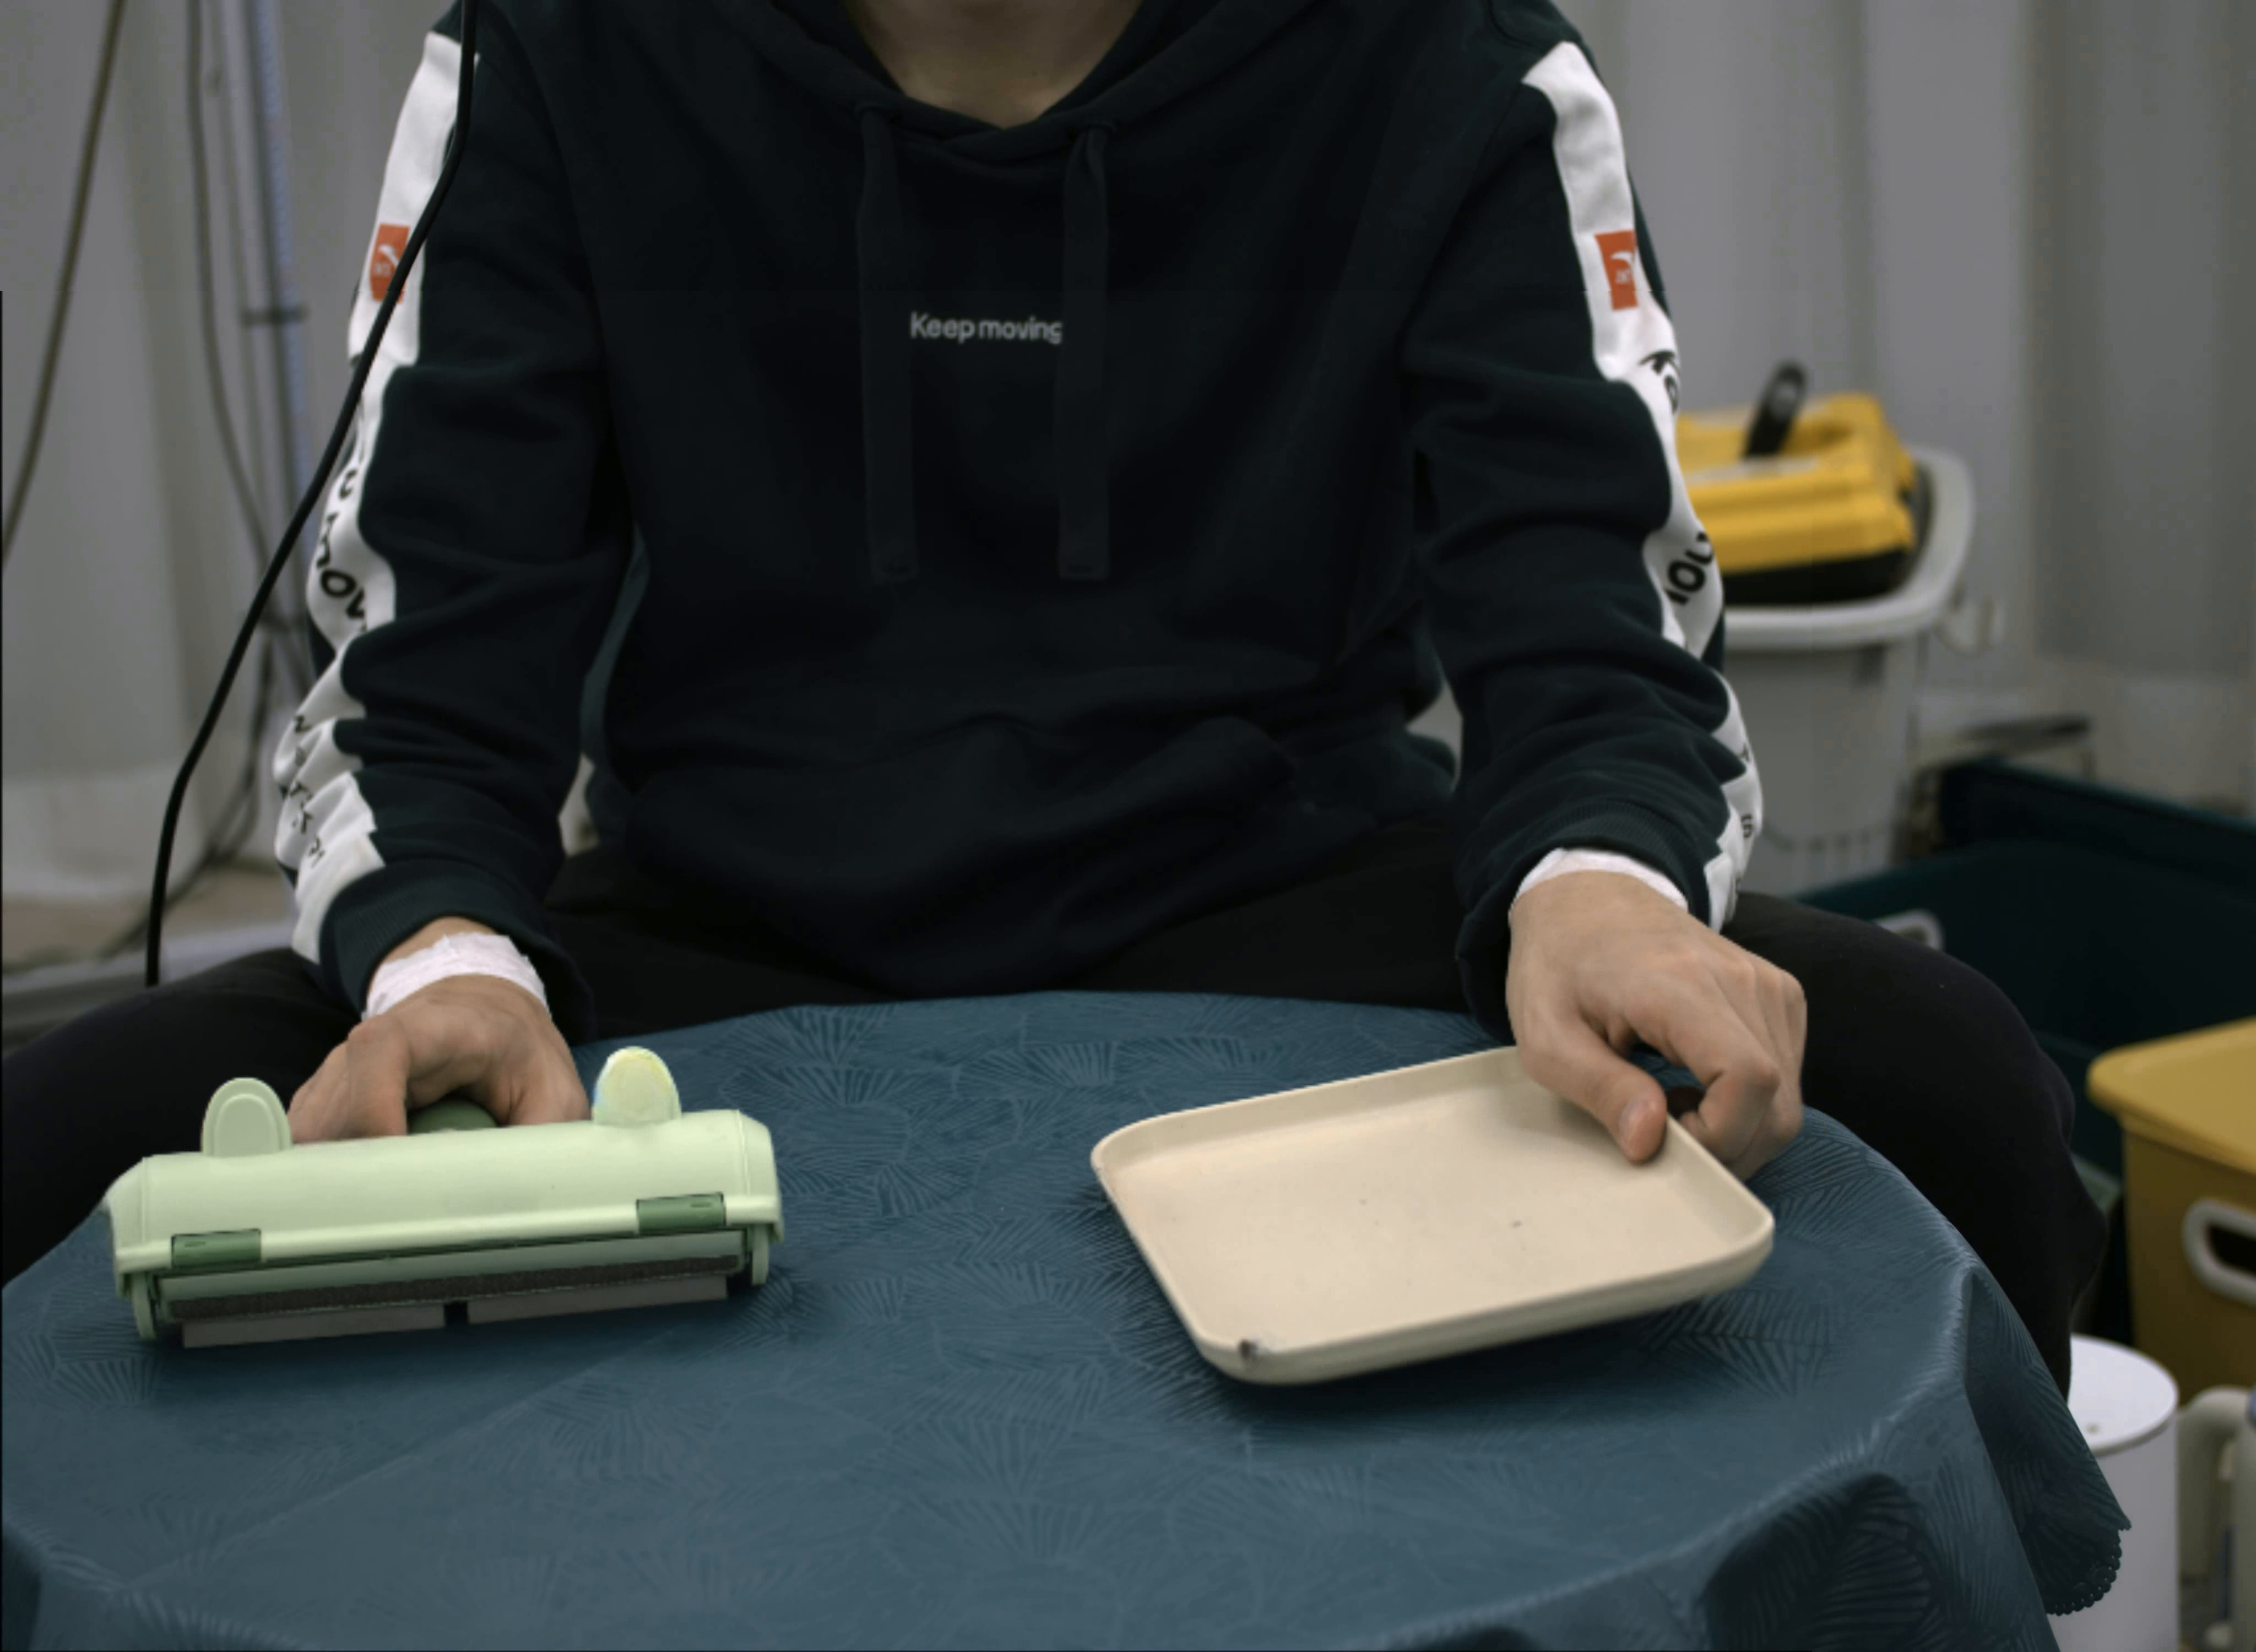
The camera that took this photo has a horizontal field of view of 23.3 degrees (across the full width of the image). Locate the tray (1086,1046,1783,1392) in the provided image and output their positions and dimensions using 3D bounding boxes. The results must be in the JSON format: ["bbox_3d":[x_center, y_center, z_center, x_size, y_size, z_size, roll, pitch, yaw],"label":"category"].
[{"bbox_3d":[0.087,0.116,1.626,0.170,0.017,0.241,-10,14,-8],"label":"tray"}]

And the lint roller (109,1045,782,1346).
[{"bbox_3d":[-0.210,0.095,1.680,0.198,0.082,0.185,-5,19,-7],"label":"lint roller"}]
